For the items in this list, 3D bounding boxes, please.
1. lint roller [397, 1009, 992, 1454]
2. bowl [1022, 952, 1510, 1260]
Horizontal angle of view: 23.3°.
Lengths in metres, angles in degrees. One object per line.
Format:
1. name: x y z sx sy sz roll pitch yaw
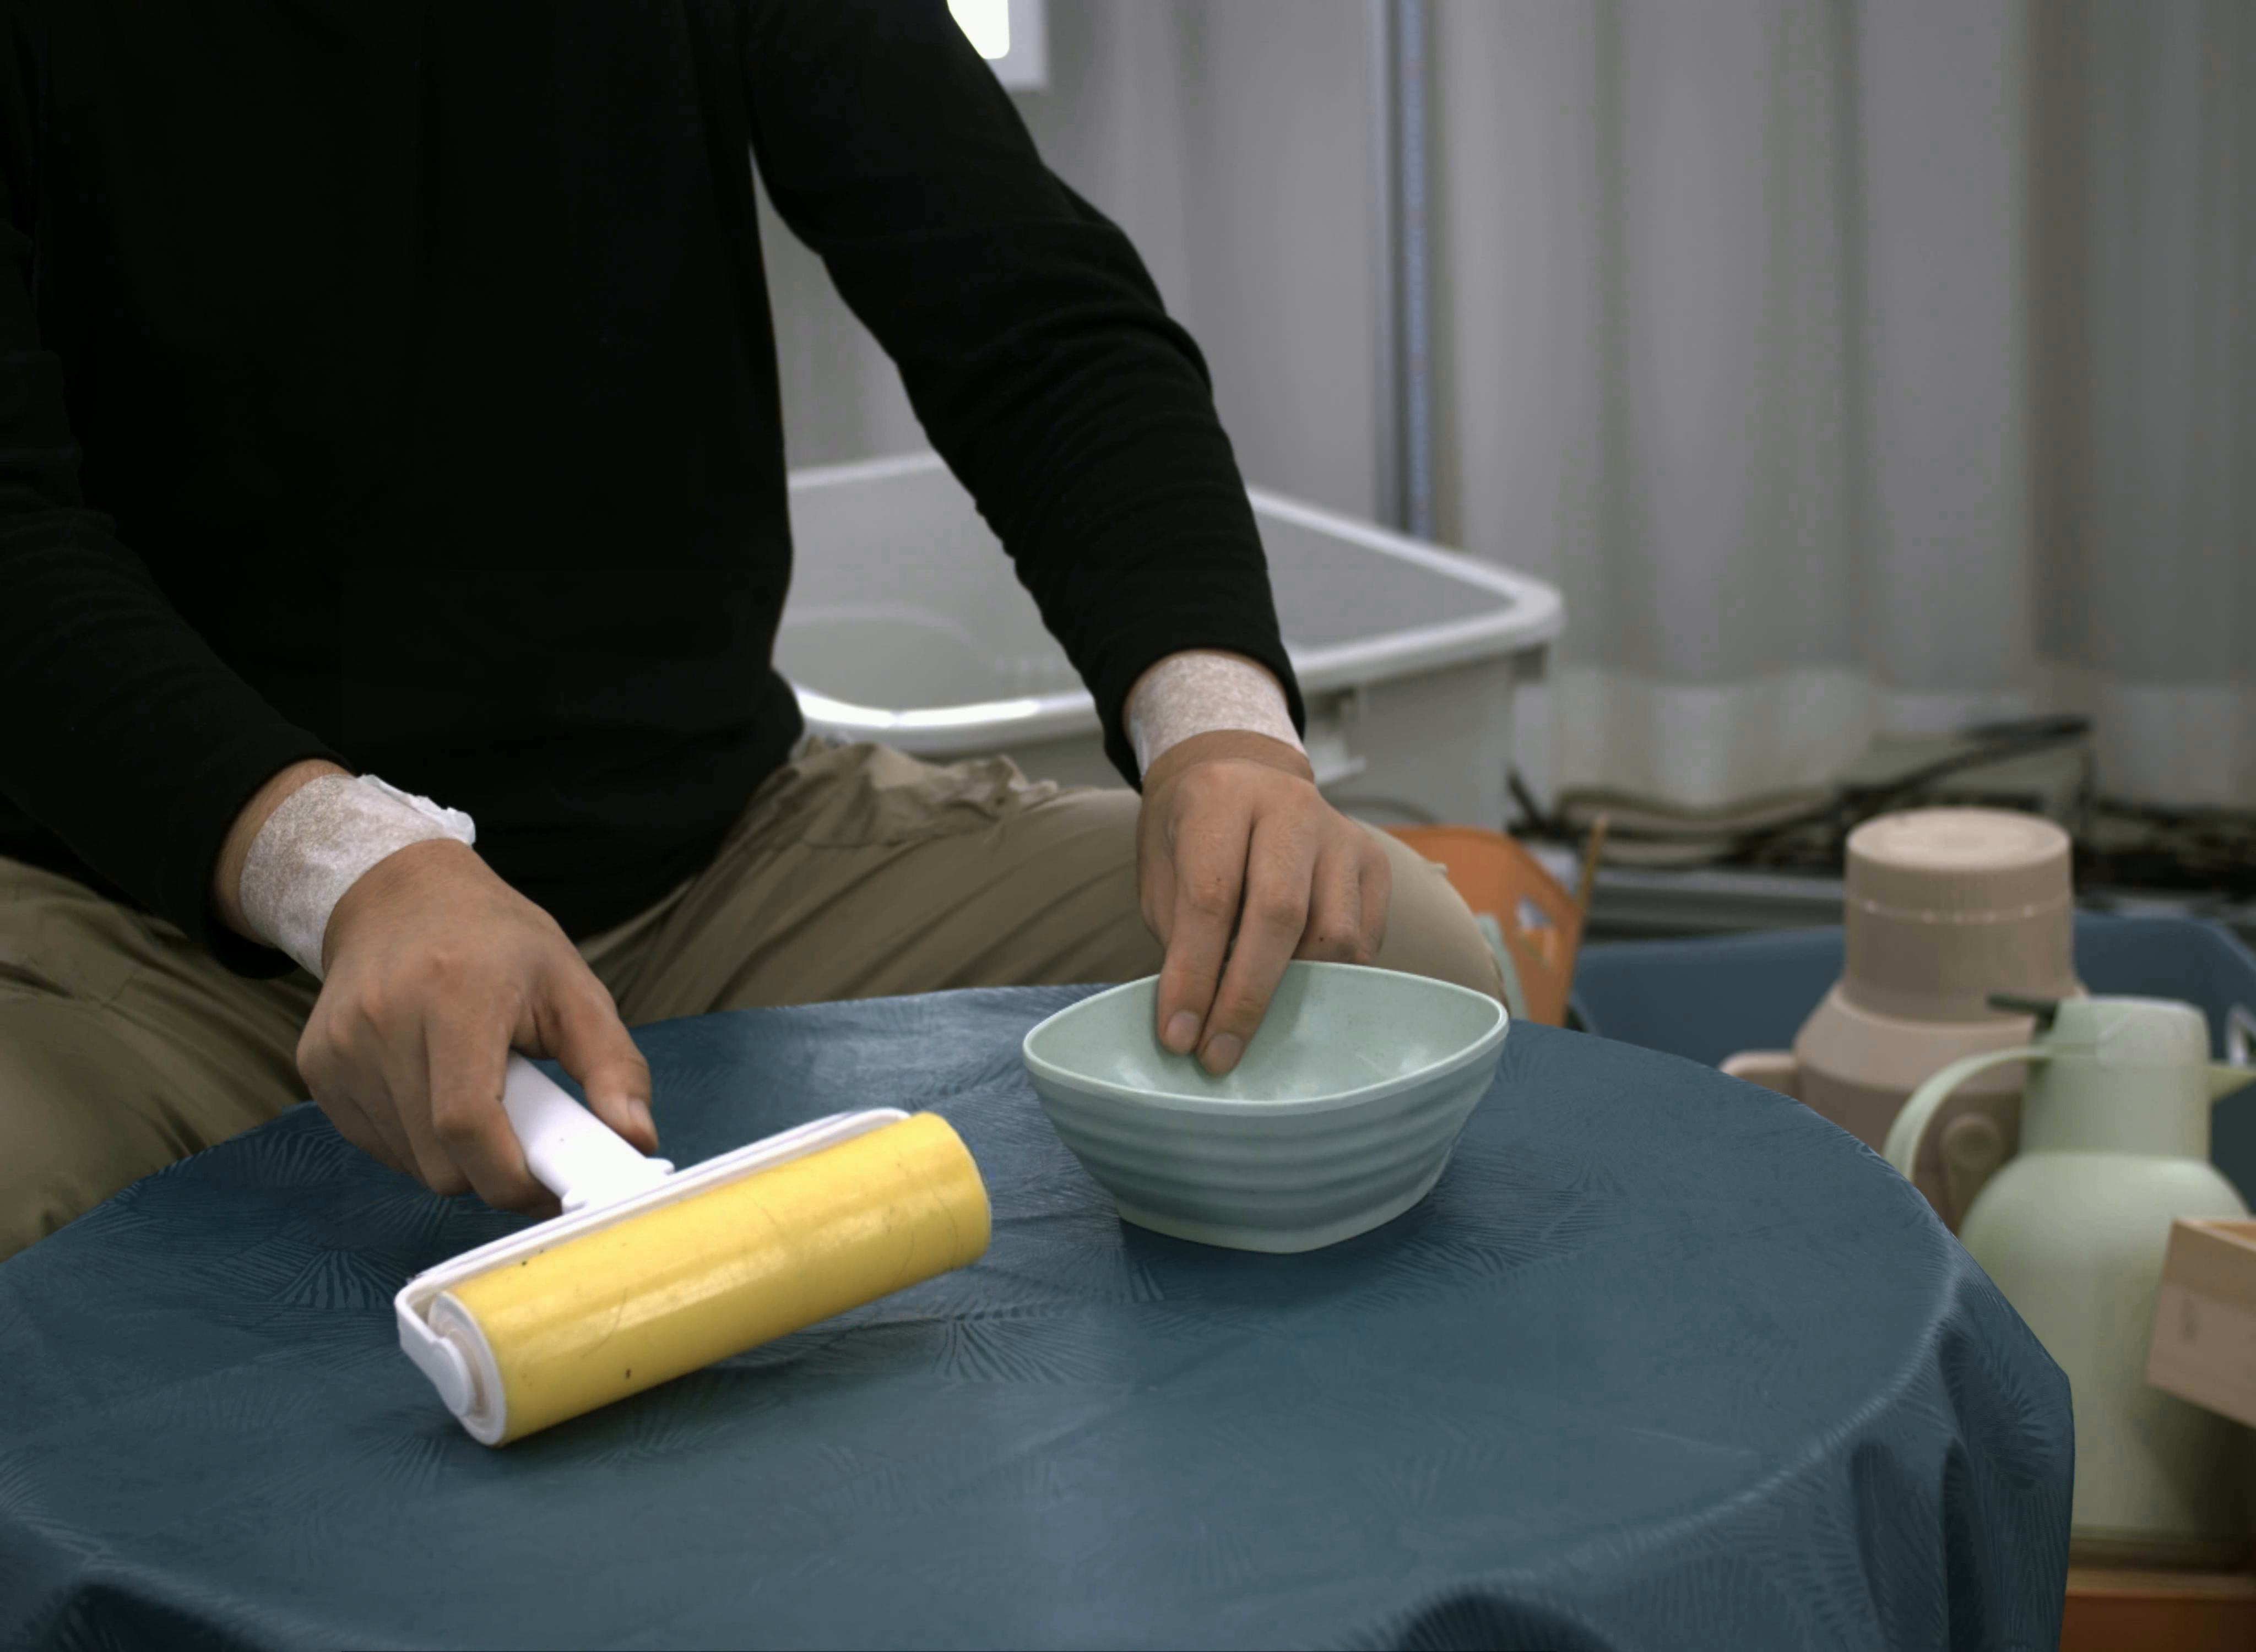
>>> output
1. lint roller: -0.160 0.095 1.608 0.174 0.051 0.194 -20 43 -30
2. bowl: 0.043 0.090 1.690 0.151 0.058 0.152 -2 16 0
